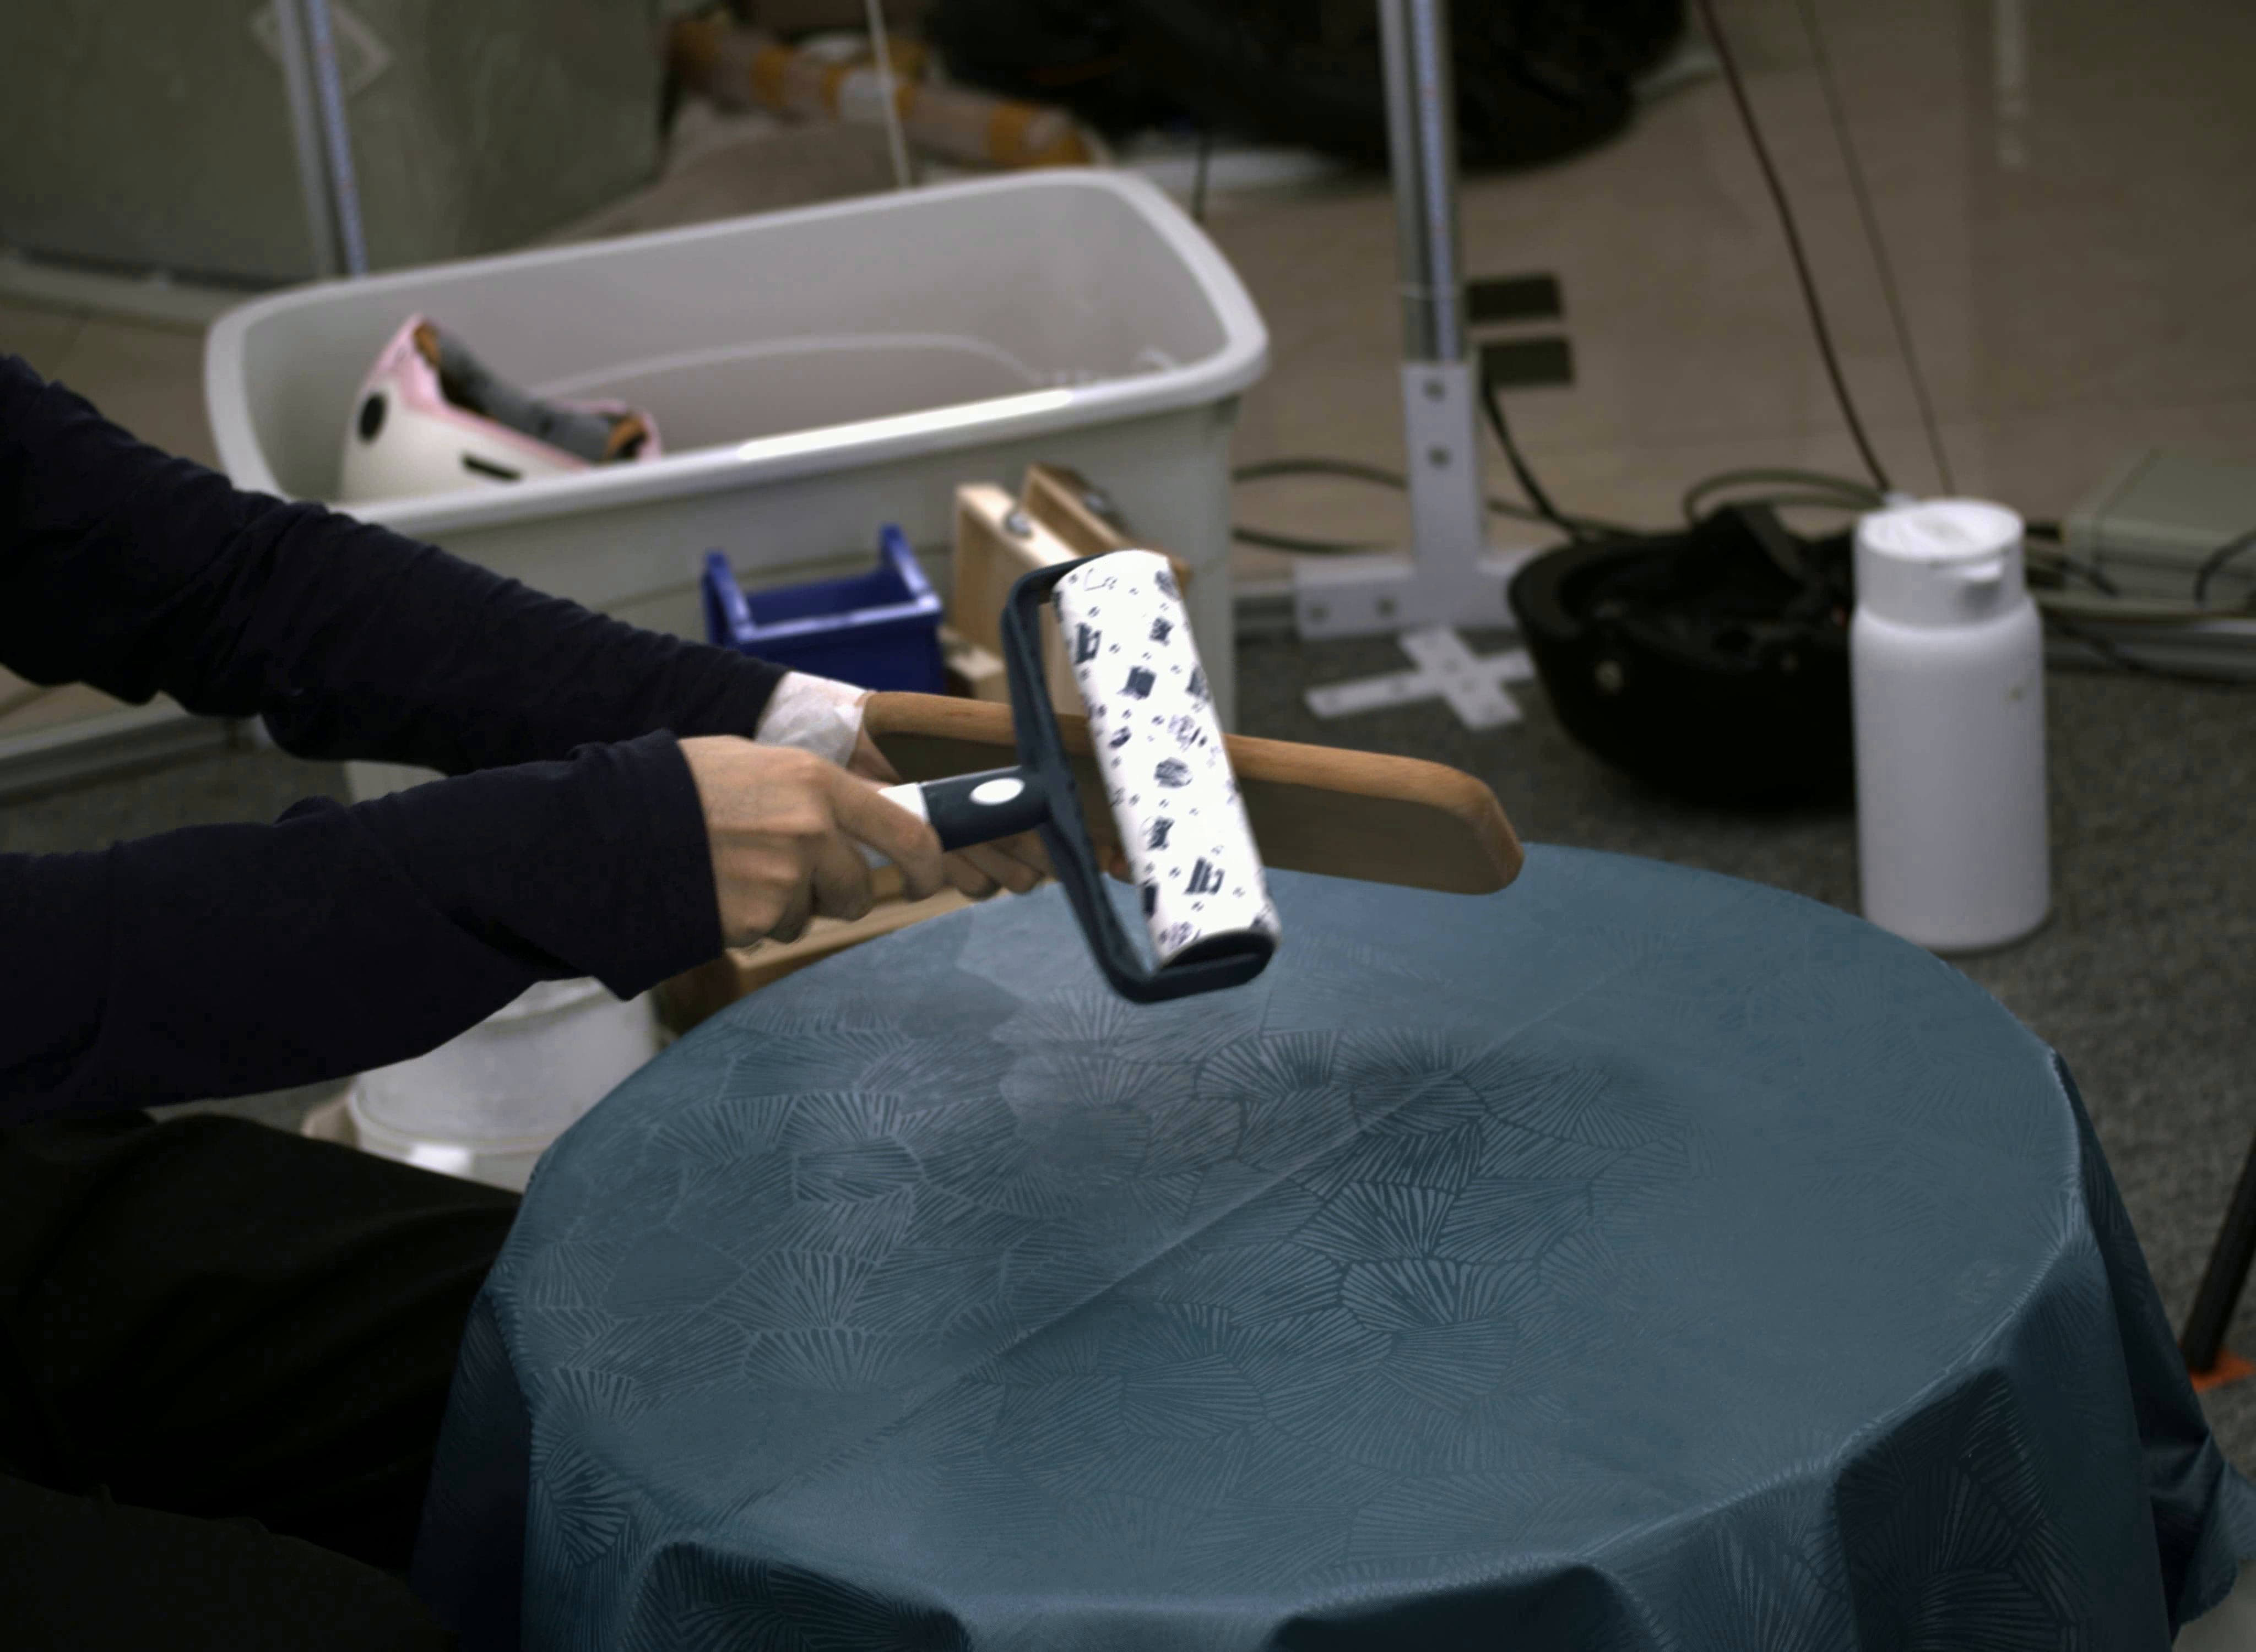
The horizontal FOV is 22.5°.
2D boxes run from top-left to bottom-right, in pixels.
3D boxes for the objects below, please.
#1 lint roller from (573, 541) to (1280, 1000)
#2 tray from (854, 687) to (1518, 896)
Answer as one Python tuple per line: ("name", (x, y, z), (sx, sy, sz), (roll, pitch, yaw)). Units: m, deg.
("lint roller", (-0.082, -0.001, 2.072), (0.246, 0.051, 0.174), (-13, 67, -8))
("tray", (0.021, -0.012, 2.178), (0.250, 0.132, 0.022), (7, 70, 18))
